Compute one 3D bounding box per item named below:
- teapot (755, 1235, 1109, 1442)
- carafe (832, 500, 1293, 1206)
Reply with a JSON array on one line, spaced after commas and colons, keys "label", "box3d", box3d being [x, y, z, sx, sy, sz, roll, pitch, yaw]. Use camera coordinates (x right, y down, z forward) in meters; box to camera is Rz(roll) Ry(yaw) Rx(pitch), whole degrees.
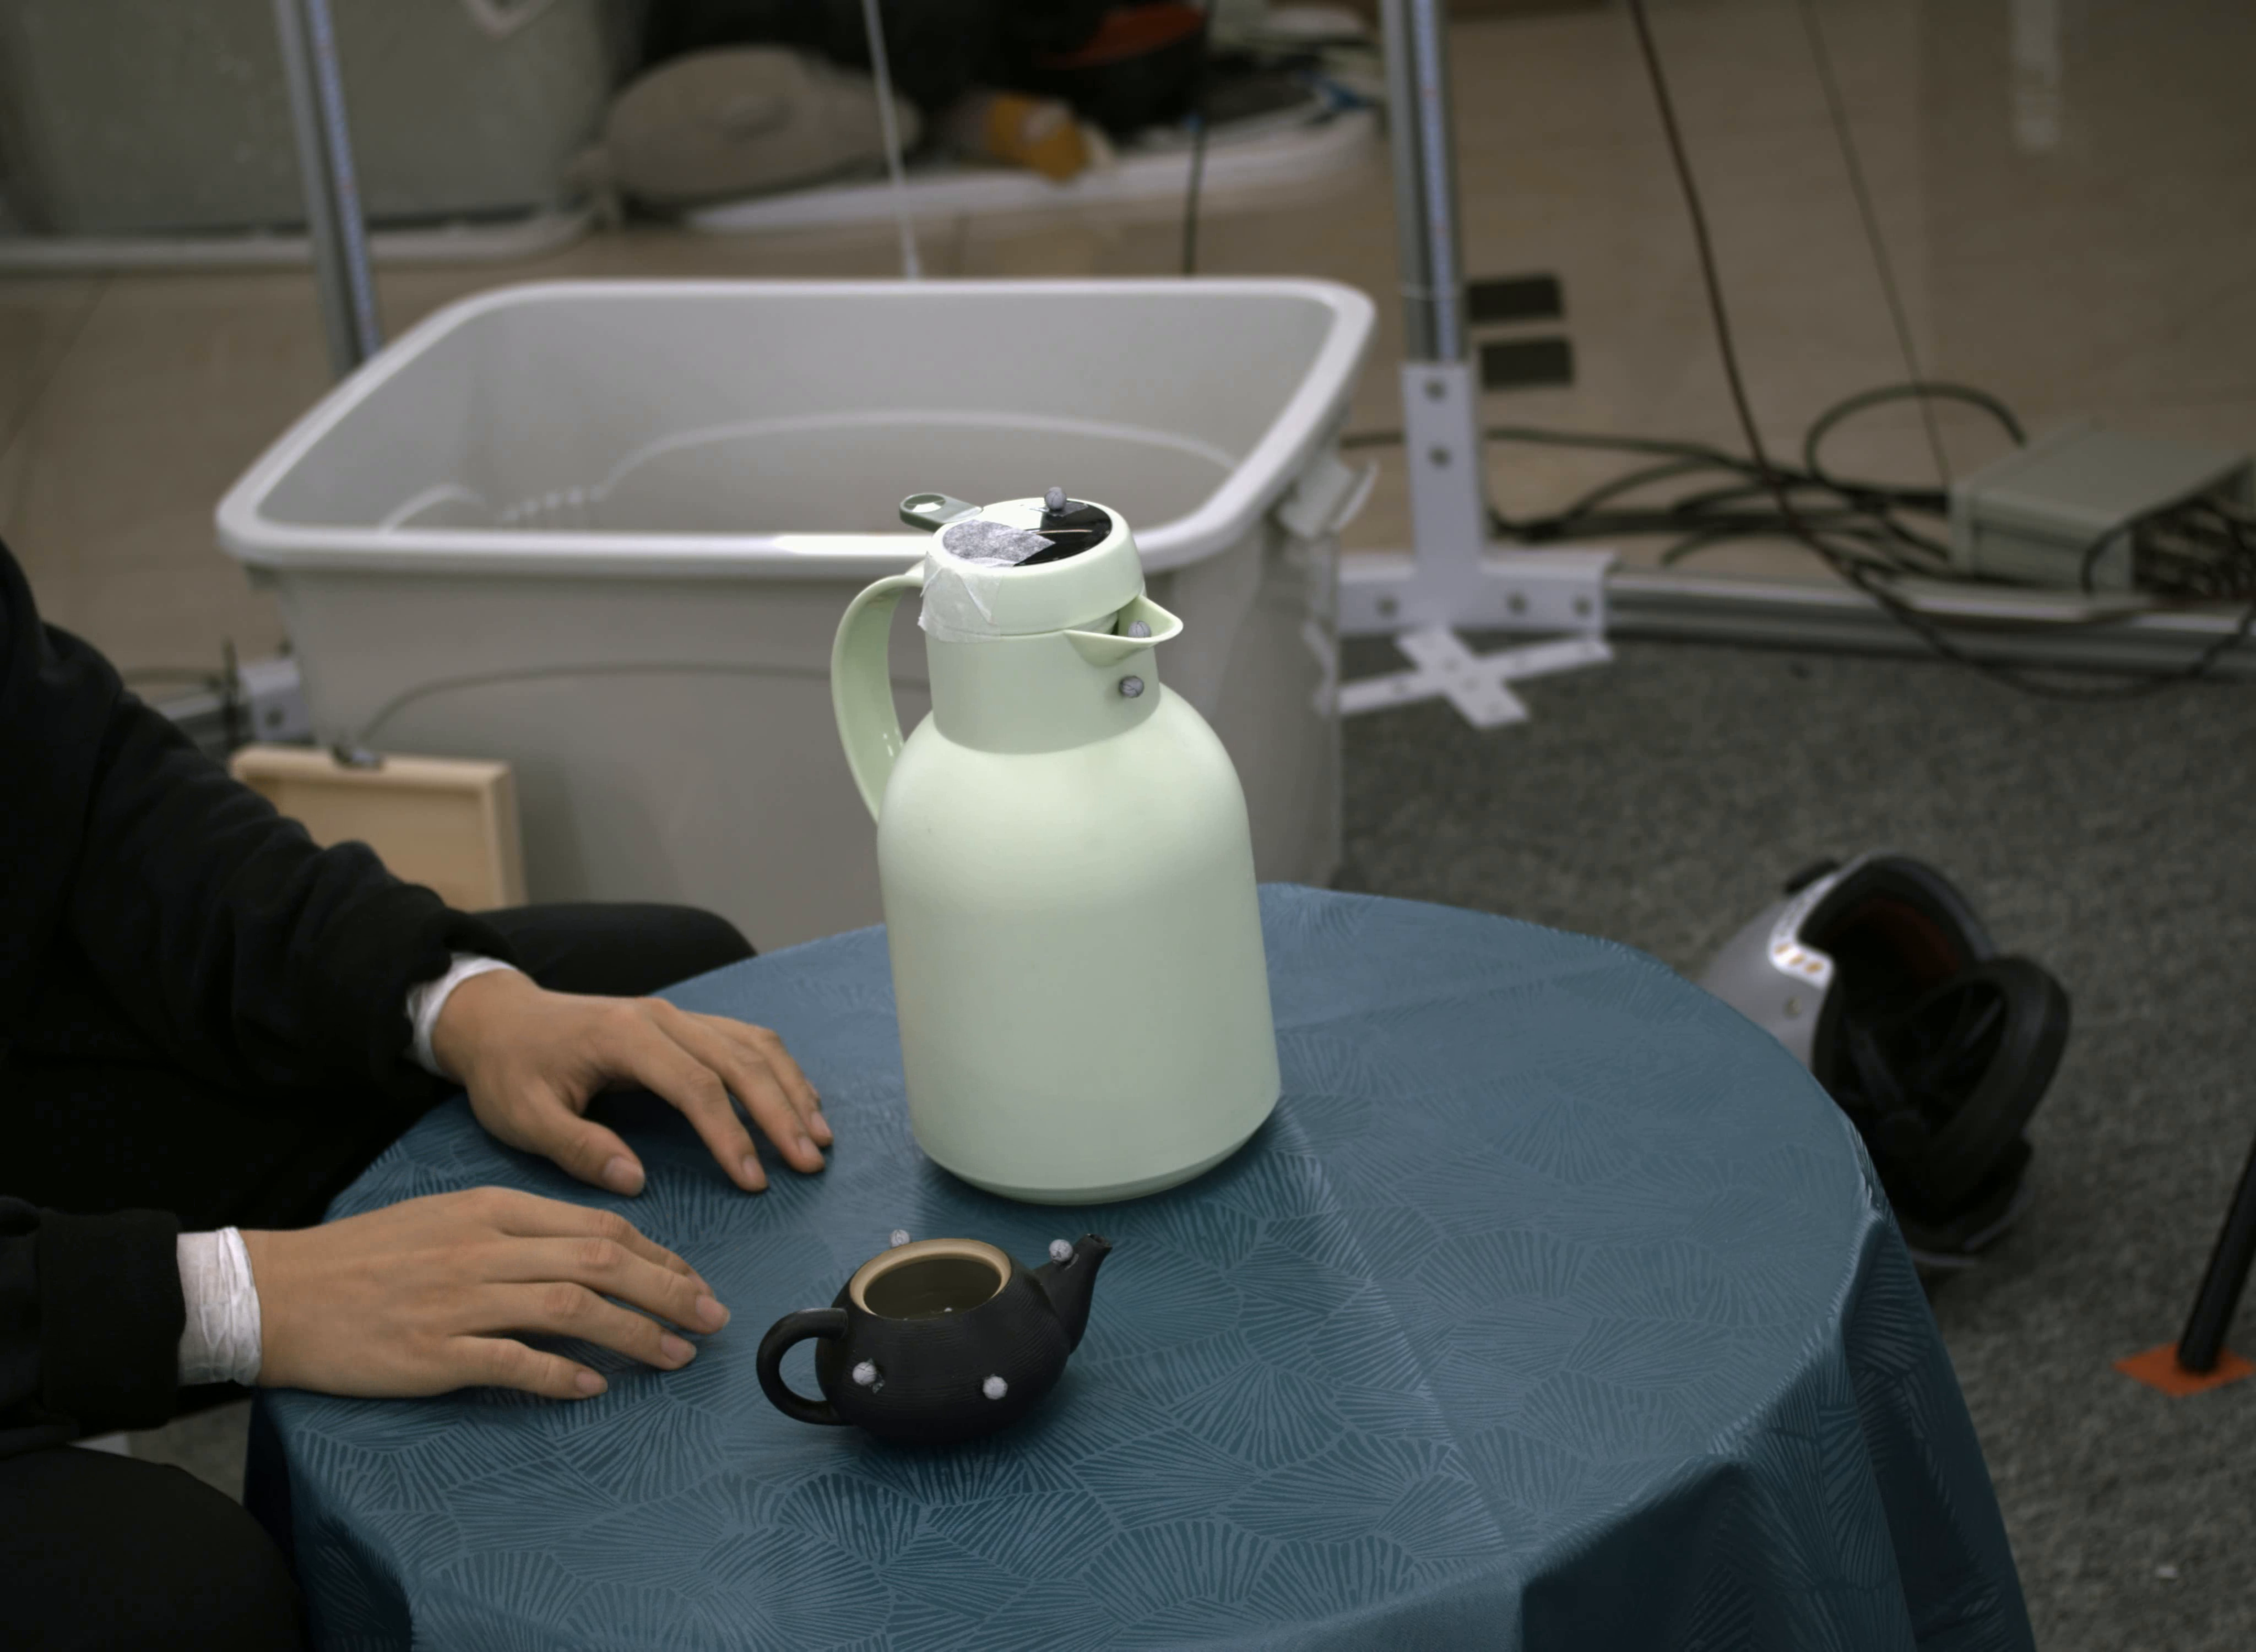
[{"label": "teapot", "box3d": [-0.067, 0.183, 2.009, 0.133, 0.054, 0.090, -13, 24, -15]}, {"label": "carafe", "box3d": [-0.033, 0.002, 2.151, 0.185, 0.261, 0.143, 15, 34, 43]}]
